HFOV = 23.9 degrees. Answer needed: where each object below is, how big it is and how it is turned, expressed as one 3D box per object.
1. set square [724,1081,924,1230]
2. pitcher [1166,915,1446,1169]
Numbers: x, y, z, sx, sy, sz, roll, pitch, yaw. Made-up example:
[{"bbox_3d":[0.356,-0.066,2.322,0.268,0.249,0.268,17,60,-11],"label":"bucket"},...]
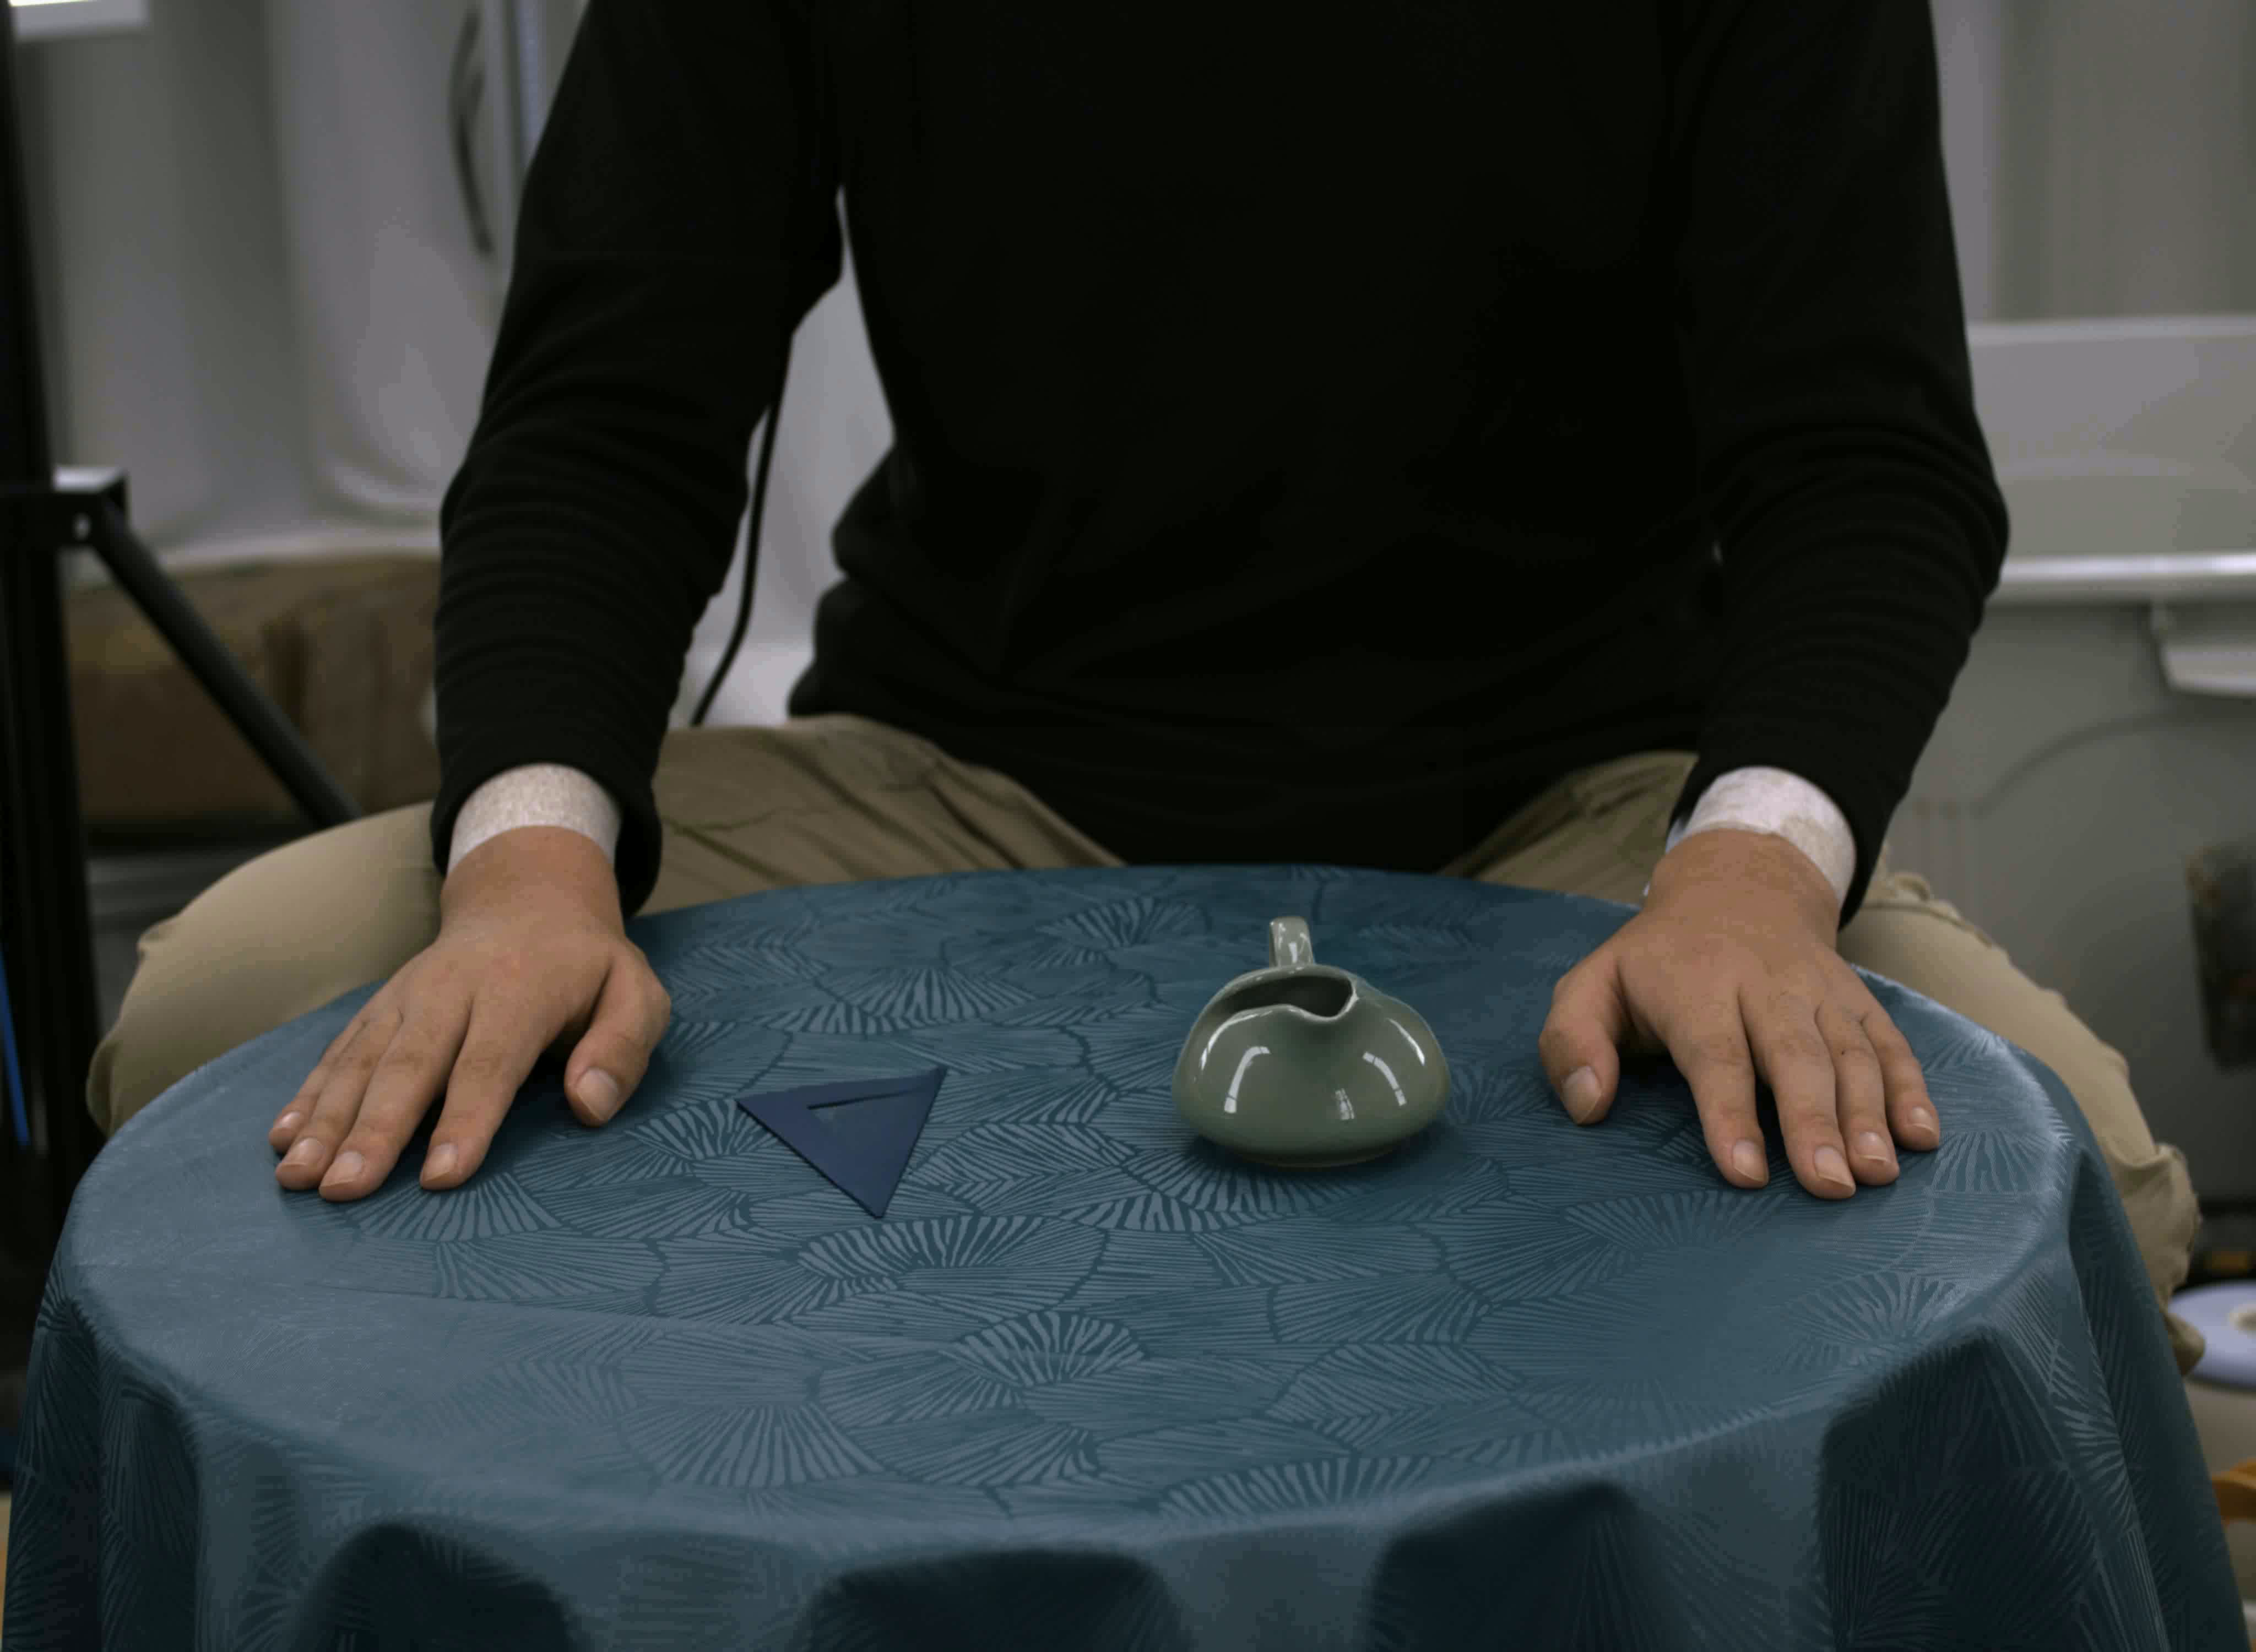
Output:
[{"bbox_3d":[-0.101,0.097,1.607,0.061,0.006,0.131,1,17,10],"label":"set square"},{"bbox_3d":[0.053,0.066,1.594,0.083,0.056,0.113,-1,15,-5],"label":"pitcher"}]
